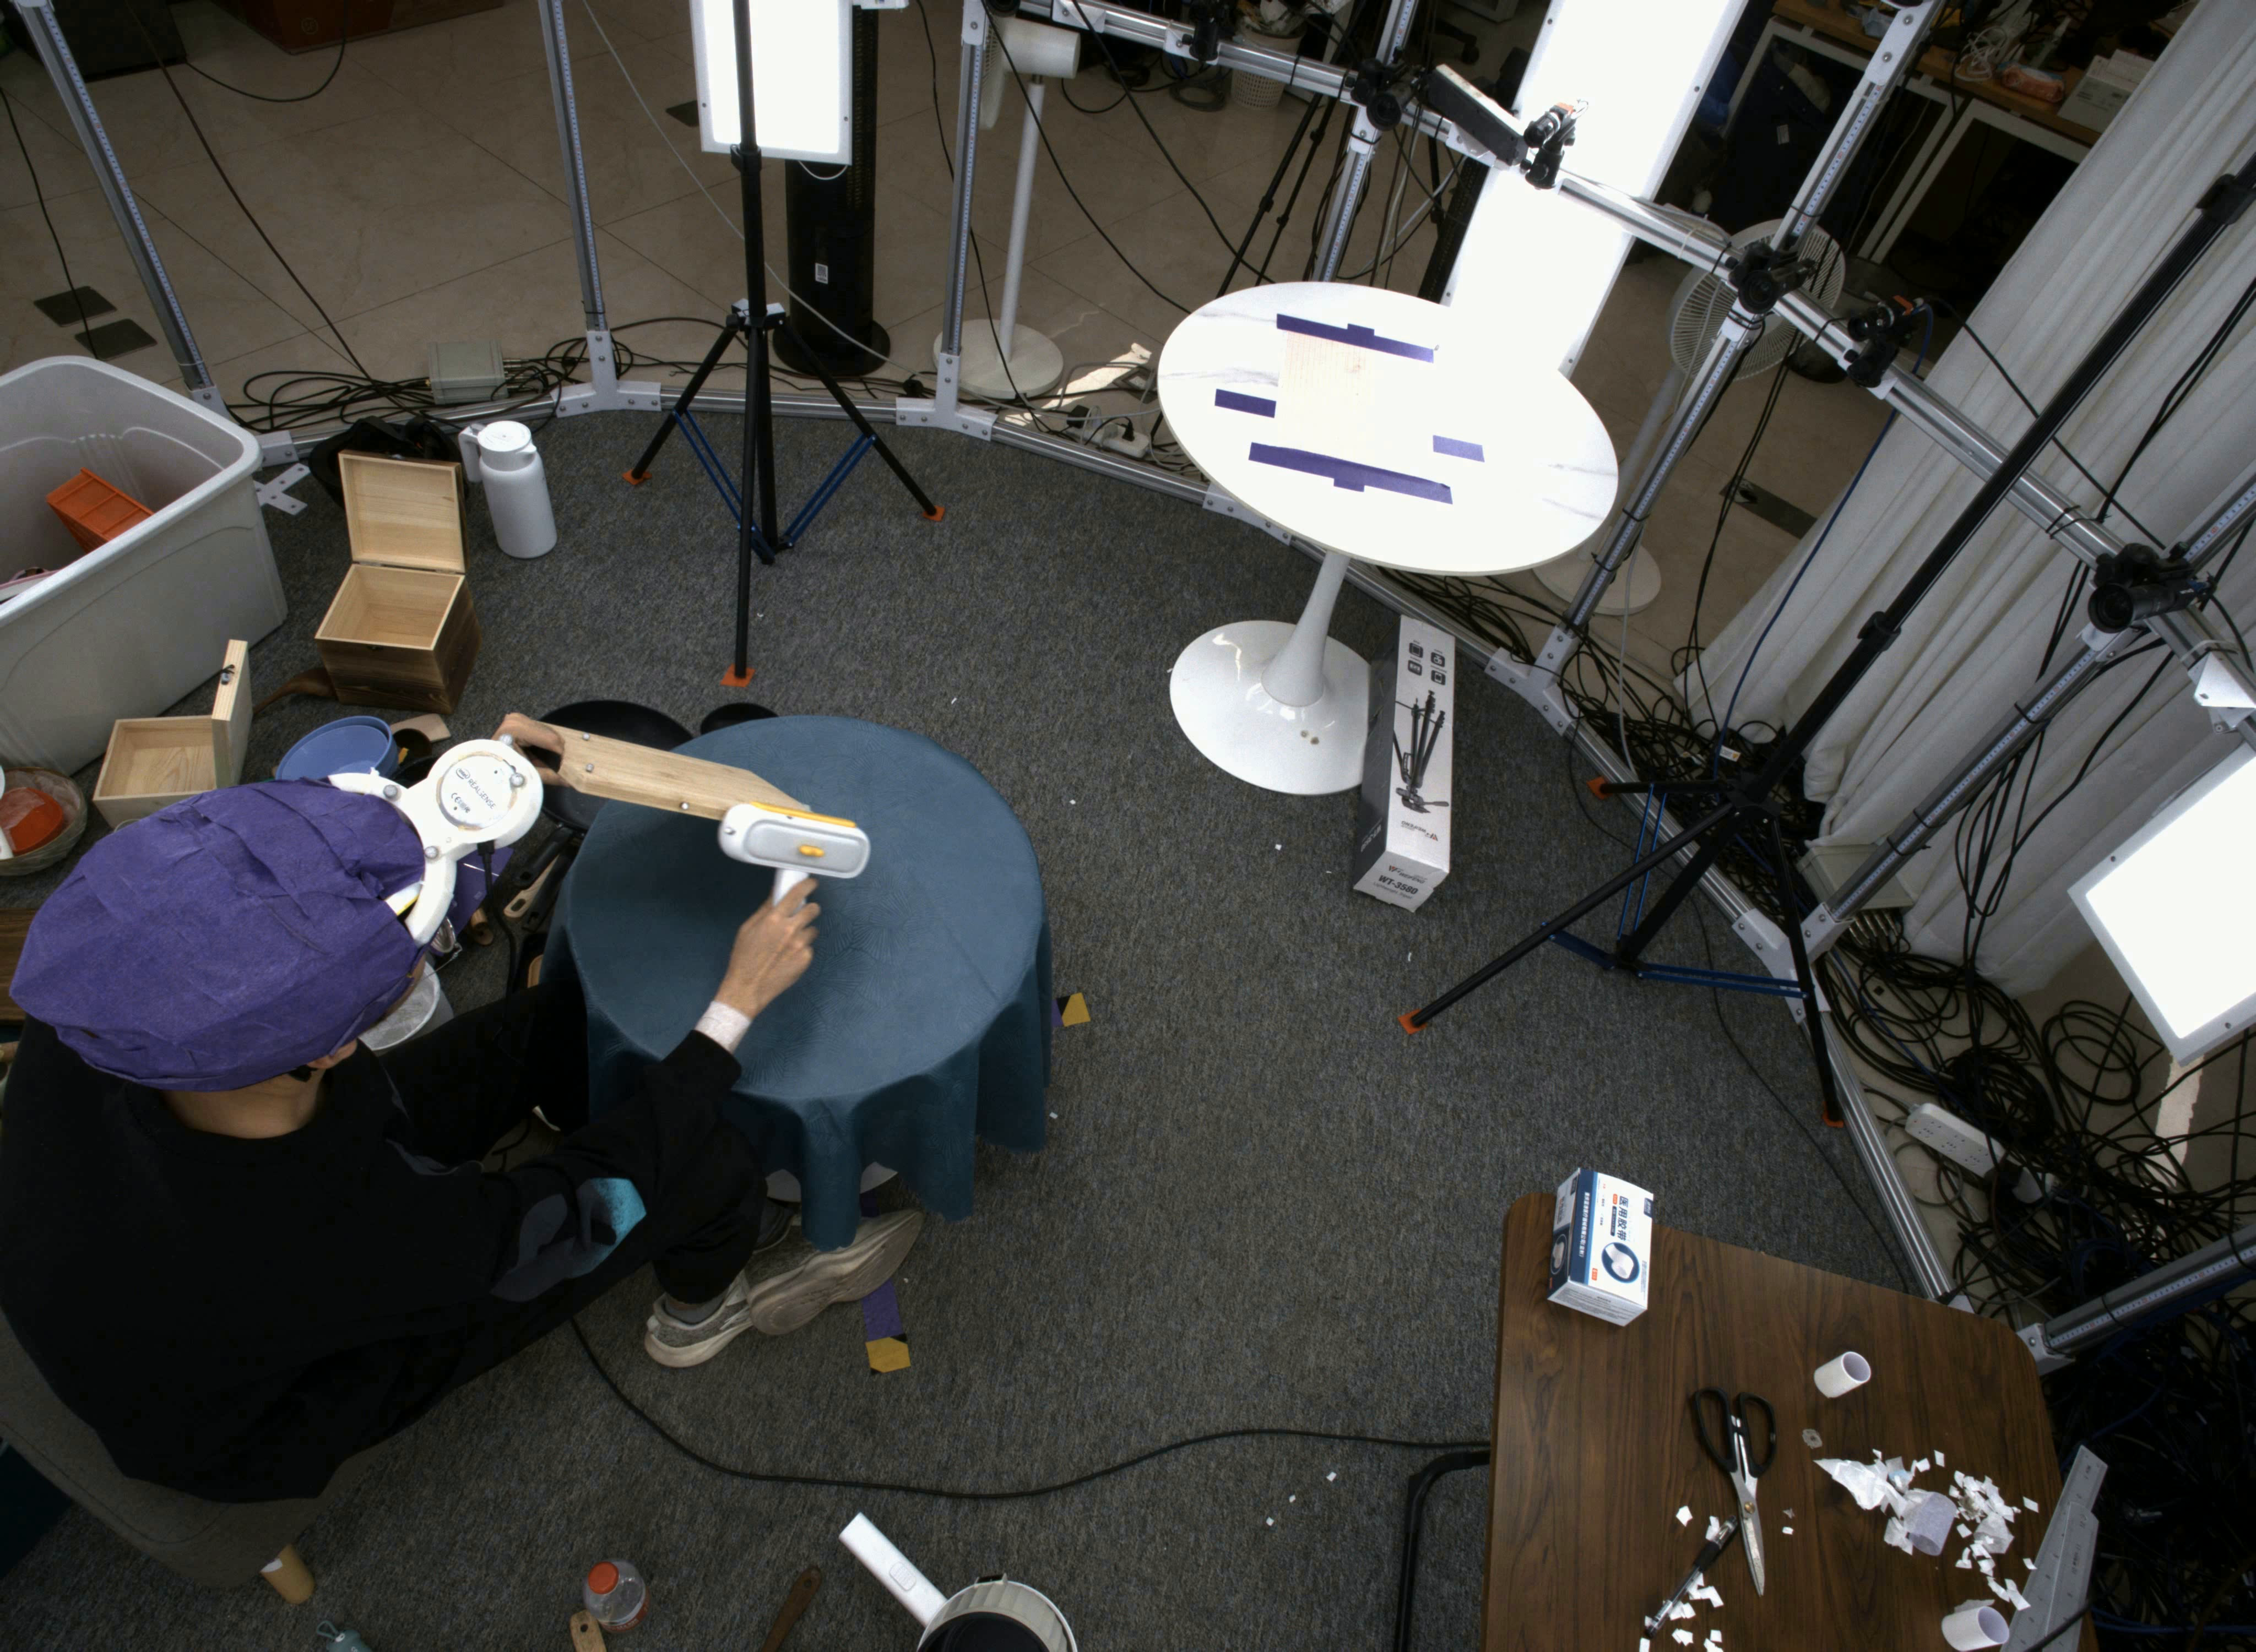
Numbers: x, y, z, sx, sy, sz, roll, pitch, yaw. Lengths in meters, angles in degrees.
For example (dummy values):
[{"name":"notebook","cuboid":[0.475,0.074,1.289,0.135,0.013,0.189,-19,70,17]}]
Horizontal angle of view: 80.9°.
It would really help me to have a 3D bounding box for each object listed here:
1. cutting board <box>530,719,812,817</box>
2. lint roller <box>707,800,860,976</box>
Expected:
[{"name":"cutting board","cuboid":[-0.551,-0.059,1.541,0.241,0.024,0.358,26,7,40]},{"name":"lint roller","cuboid":[-0.404,0.074,1.518,0.071,0.195,0.197,12,3,37]}]
